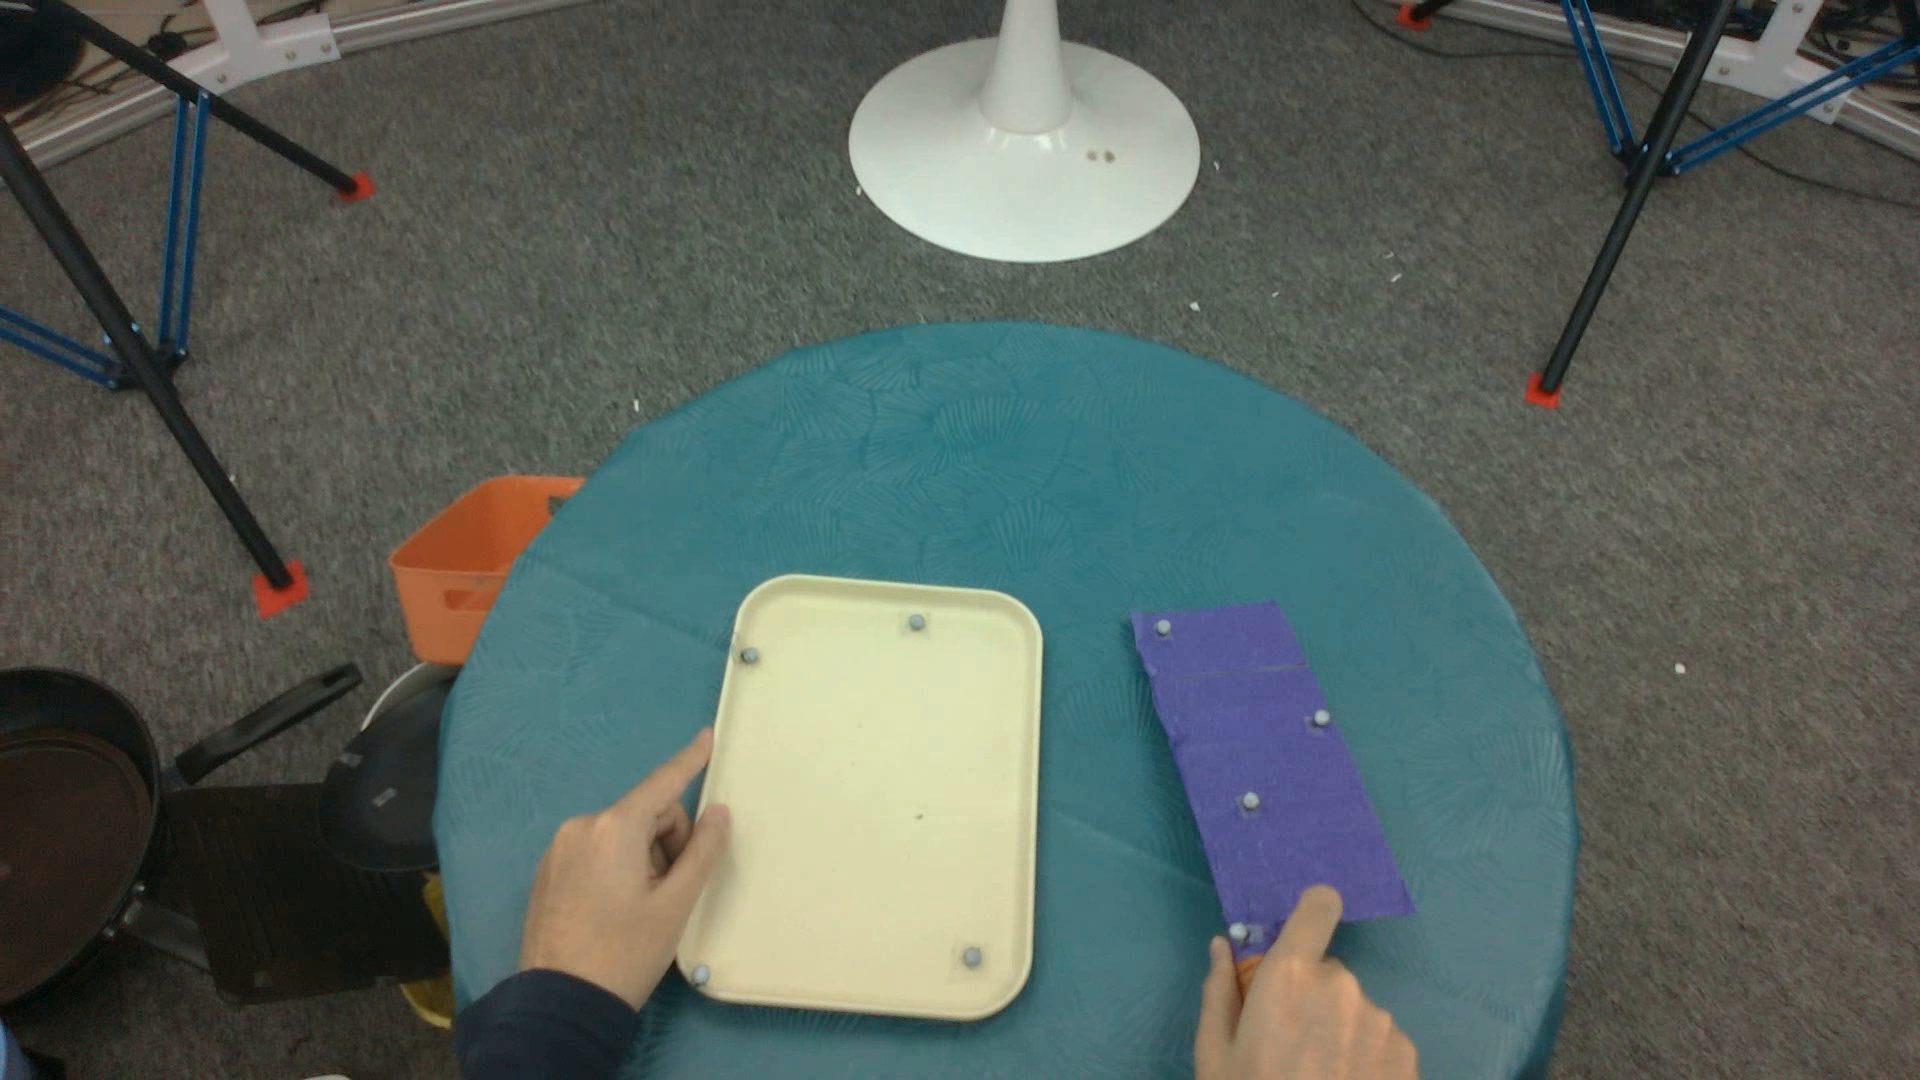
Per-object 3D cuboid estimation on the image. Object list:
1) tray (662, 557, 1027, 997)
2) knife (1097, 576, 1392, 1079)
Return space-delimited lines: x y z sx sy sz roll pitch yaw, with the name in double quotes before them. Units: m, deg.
"tray" -0.052 0.113 0.707 0.171 0.017 0.241 6 52 -2
"knife" 0.153 0.129 0.673 0.104 0.032 0.316 -5 45 -8
